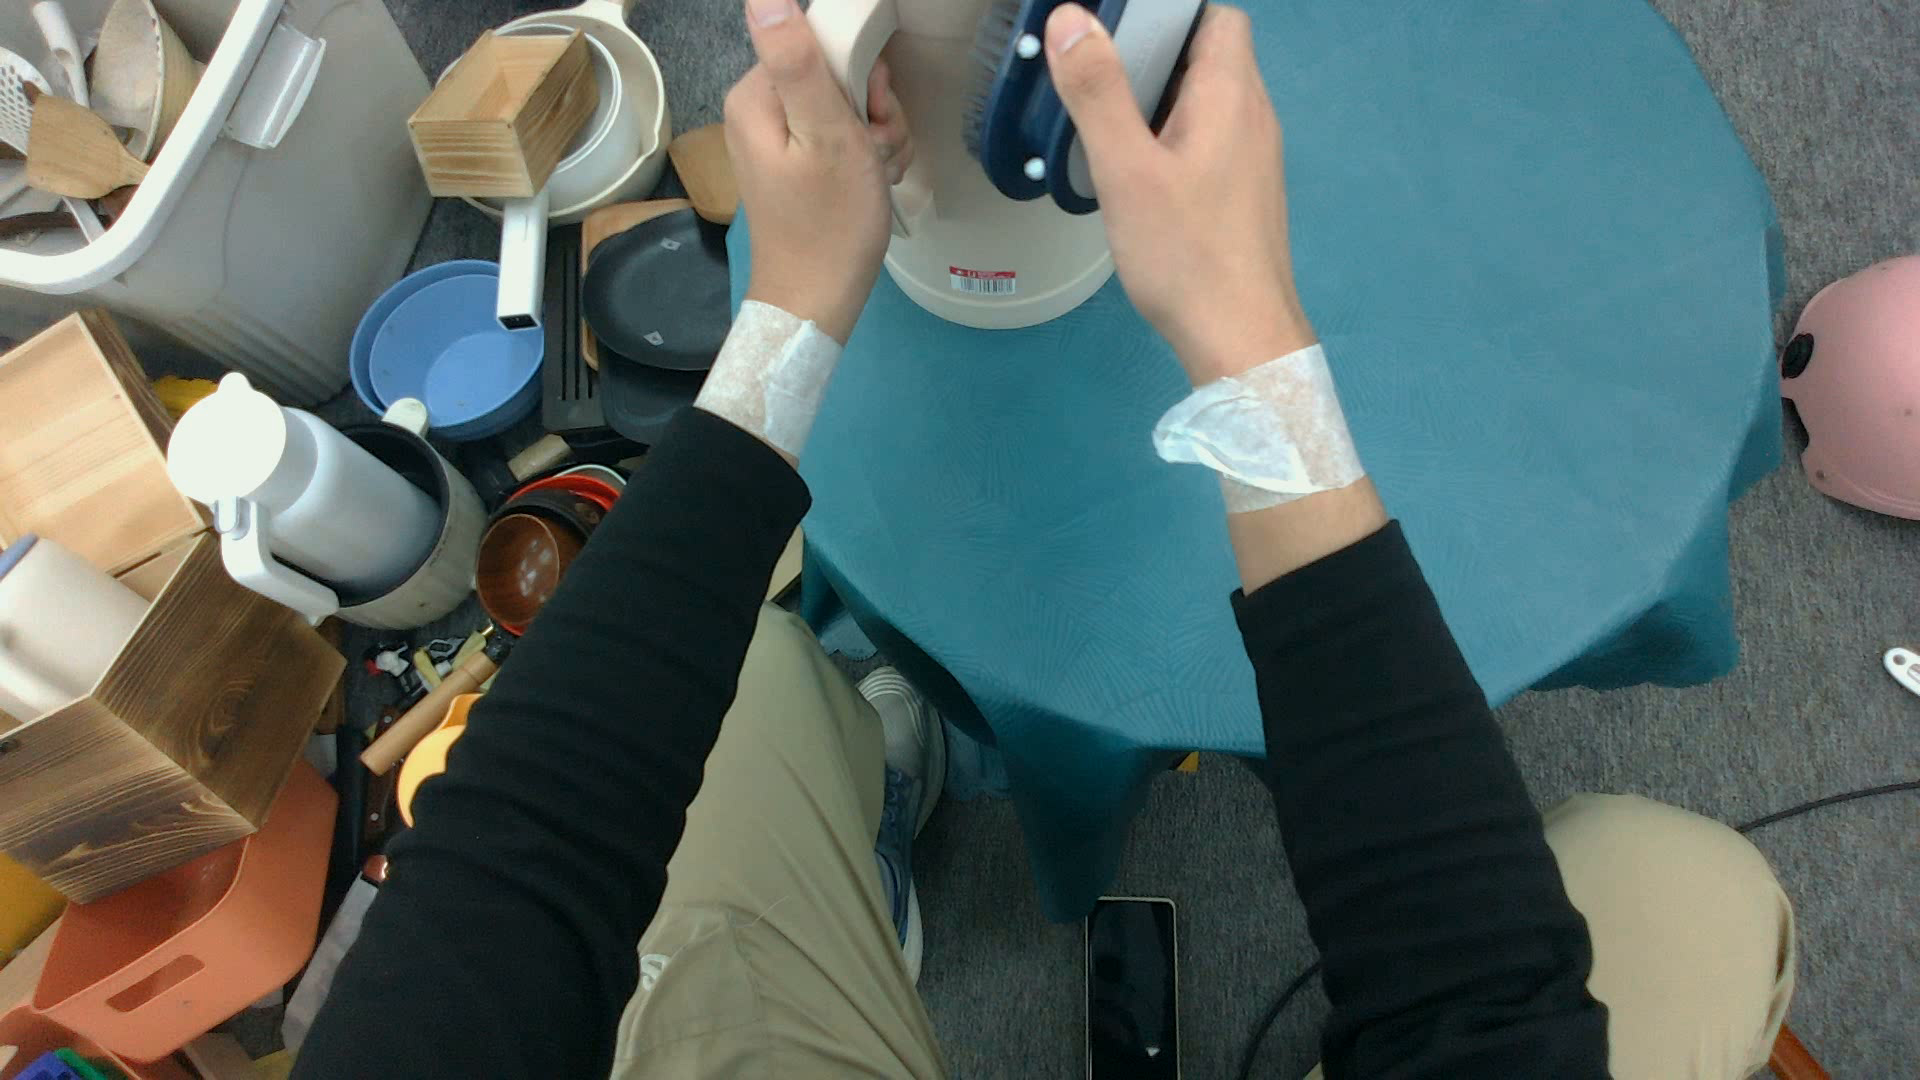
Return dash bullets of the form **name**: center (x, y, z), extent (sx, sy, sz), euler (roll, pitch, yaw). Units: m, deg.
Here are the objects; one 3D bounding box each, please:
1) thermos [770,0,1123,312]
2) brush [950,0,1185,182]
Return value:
- **thermos**: center (-0.013, -0.253, 0.636), extent (0.175, 0.405, 0.207), euler (25, 76, 10)
- **brush**: center (0.041, -0.199, 0.523), extent (0.061, 0.068, 0.121), euler (39, 115, 32)
